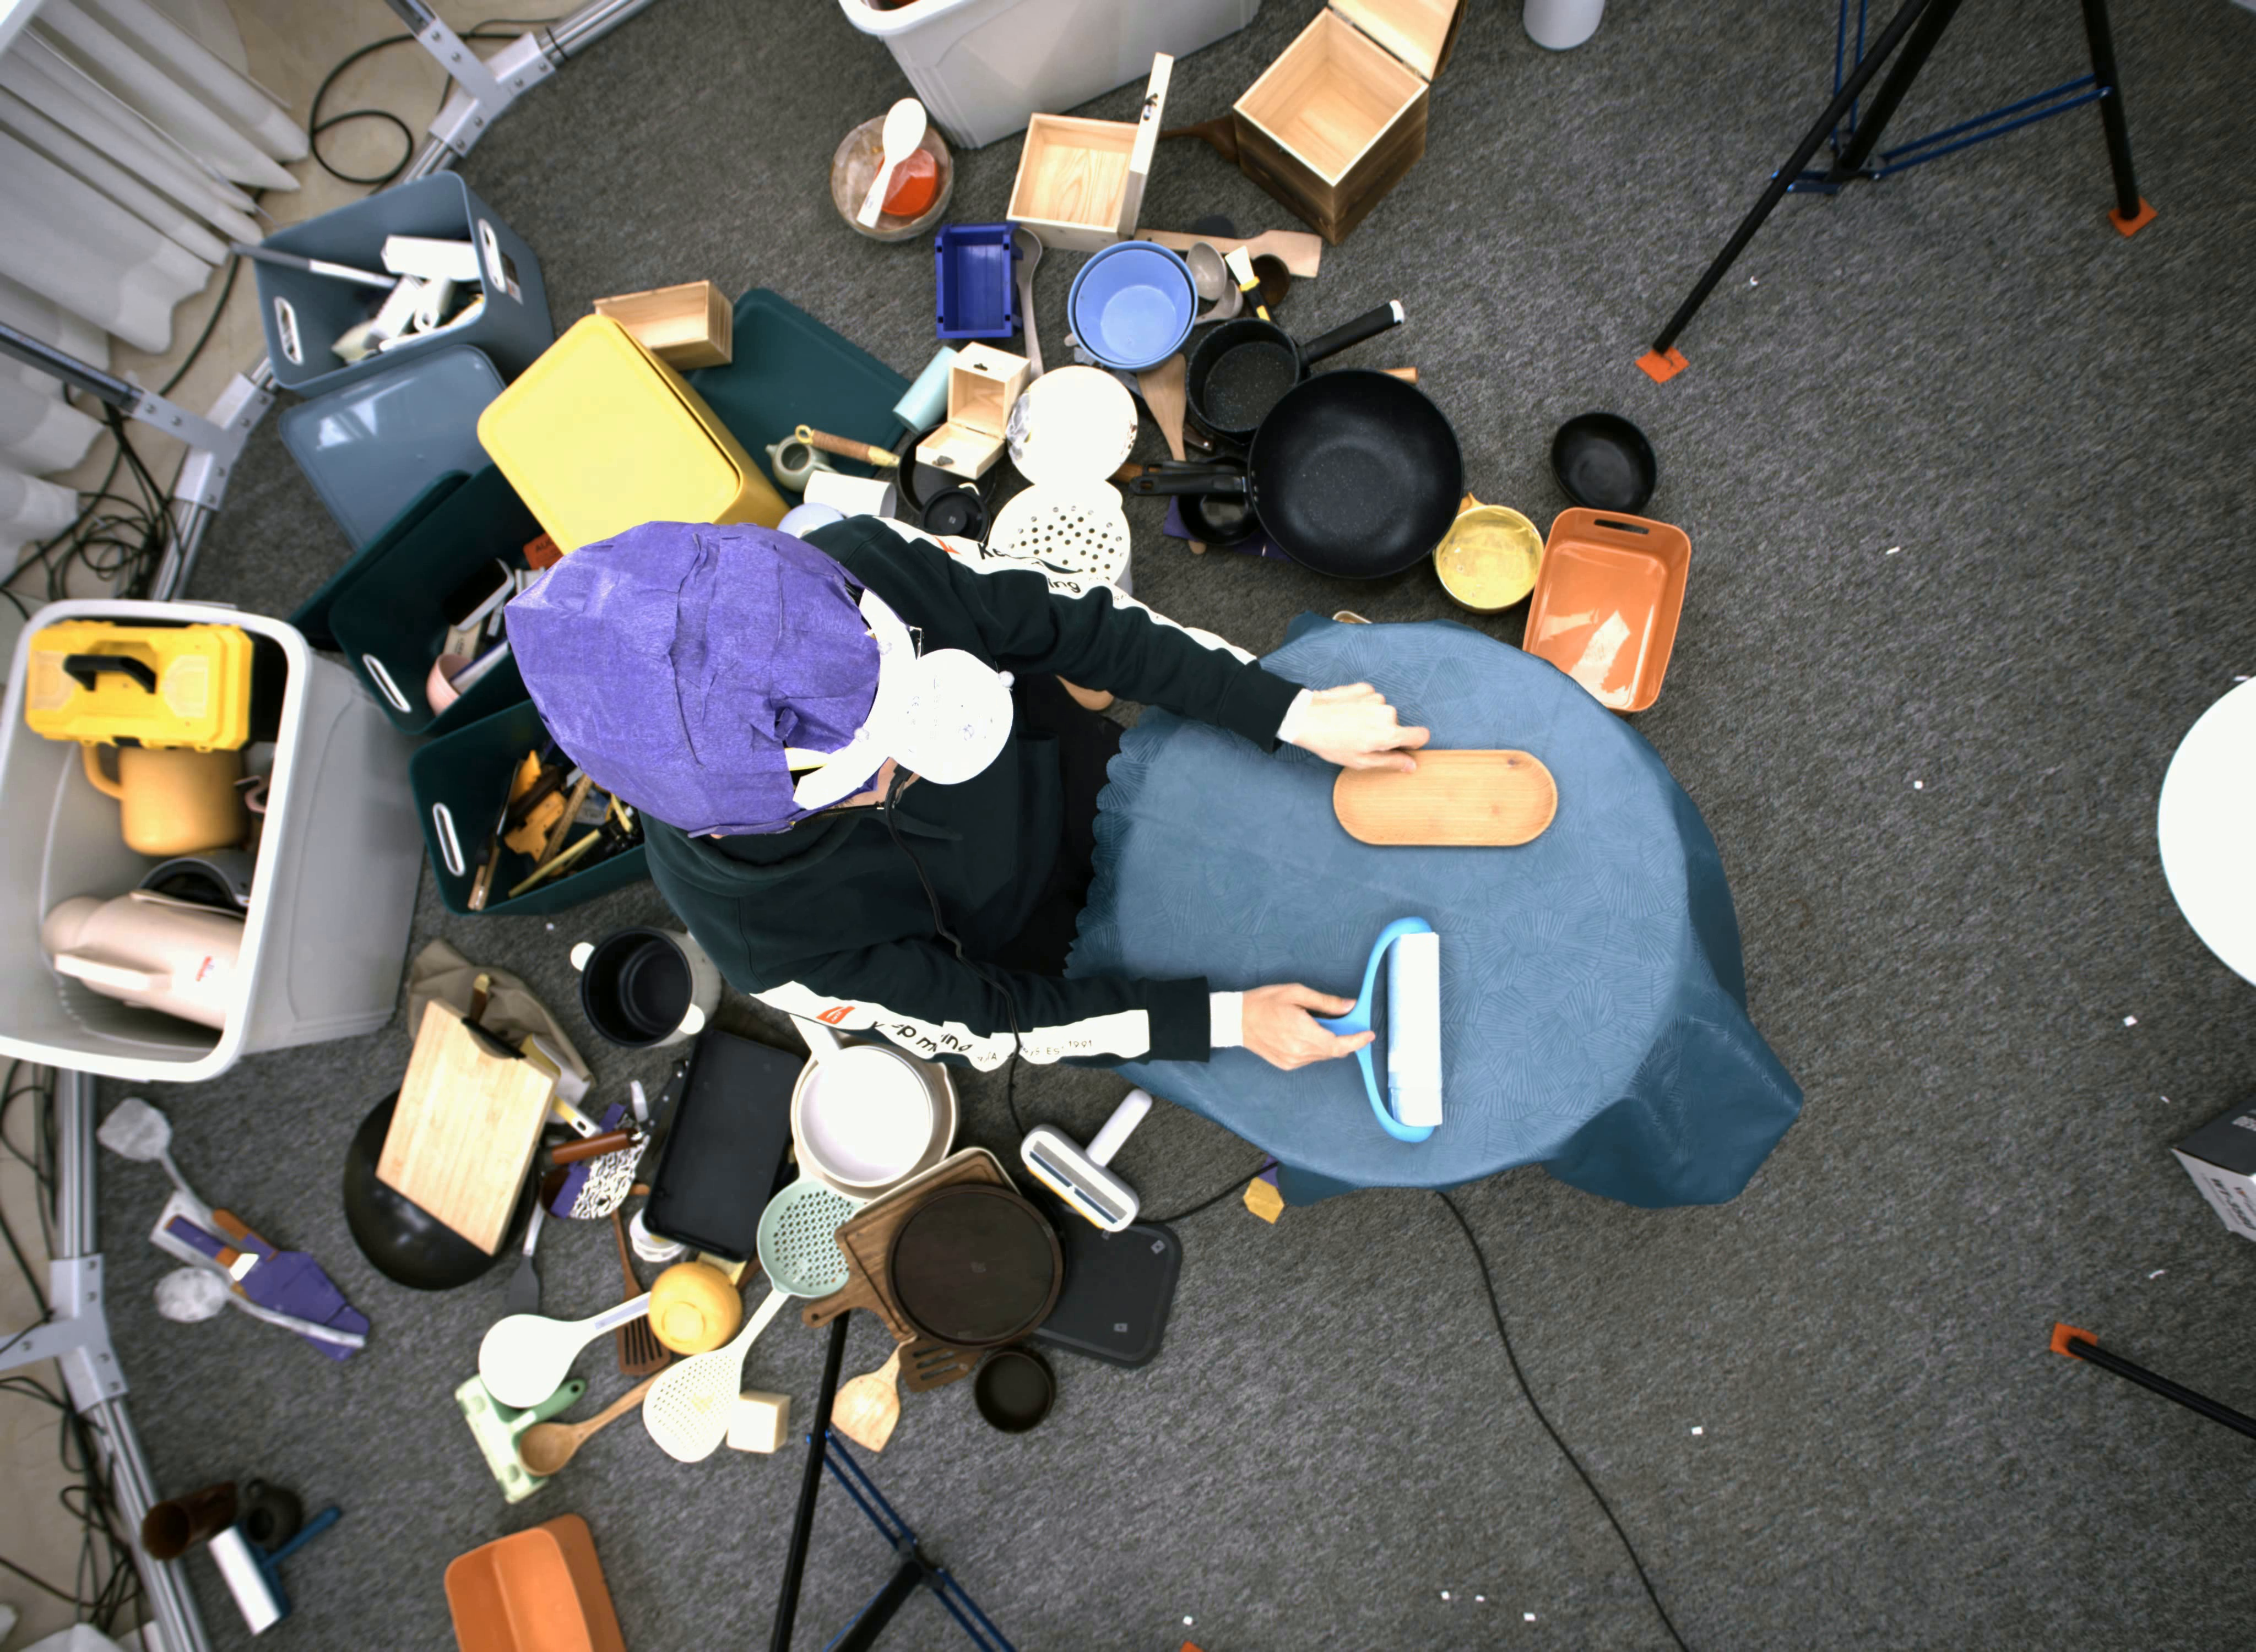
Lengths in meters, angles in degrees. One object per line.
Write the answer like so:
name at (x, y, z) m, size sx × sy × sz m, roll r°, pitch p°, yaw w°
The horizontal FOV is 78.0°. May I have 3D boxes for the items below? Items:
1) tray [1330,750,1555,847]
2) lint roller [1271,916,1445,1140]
tray at (0.328, -0.030, 1.440) m, size 0.232 × 0.020 × 0.101 m, roll -1°, pitch 89°, yaw 12°
lint roller at (0.236, 0.209, 1.425) m, size 0.181 × 0.068 × 0.228 m, roll -3°, pitch 88°, yaw 9°
